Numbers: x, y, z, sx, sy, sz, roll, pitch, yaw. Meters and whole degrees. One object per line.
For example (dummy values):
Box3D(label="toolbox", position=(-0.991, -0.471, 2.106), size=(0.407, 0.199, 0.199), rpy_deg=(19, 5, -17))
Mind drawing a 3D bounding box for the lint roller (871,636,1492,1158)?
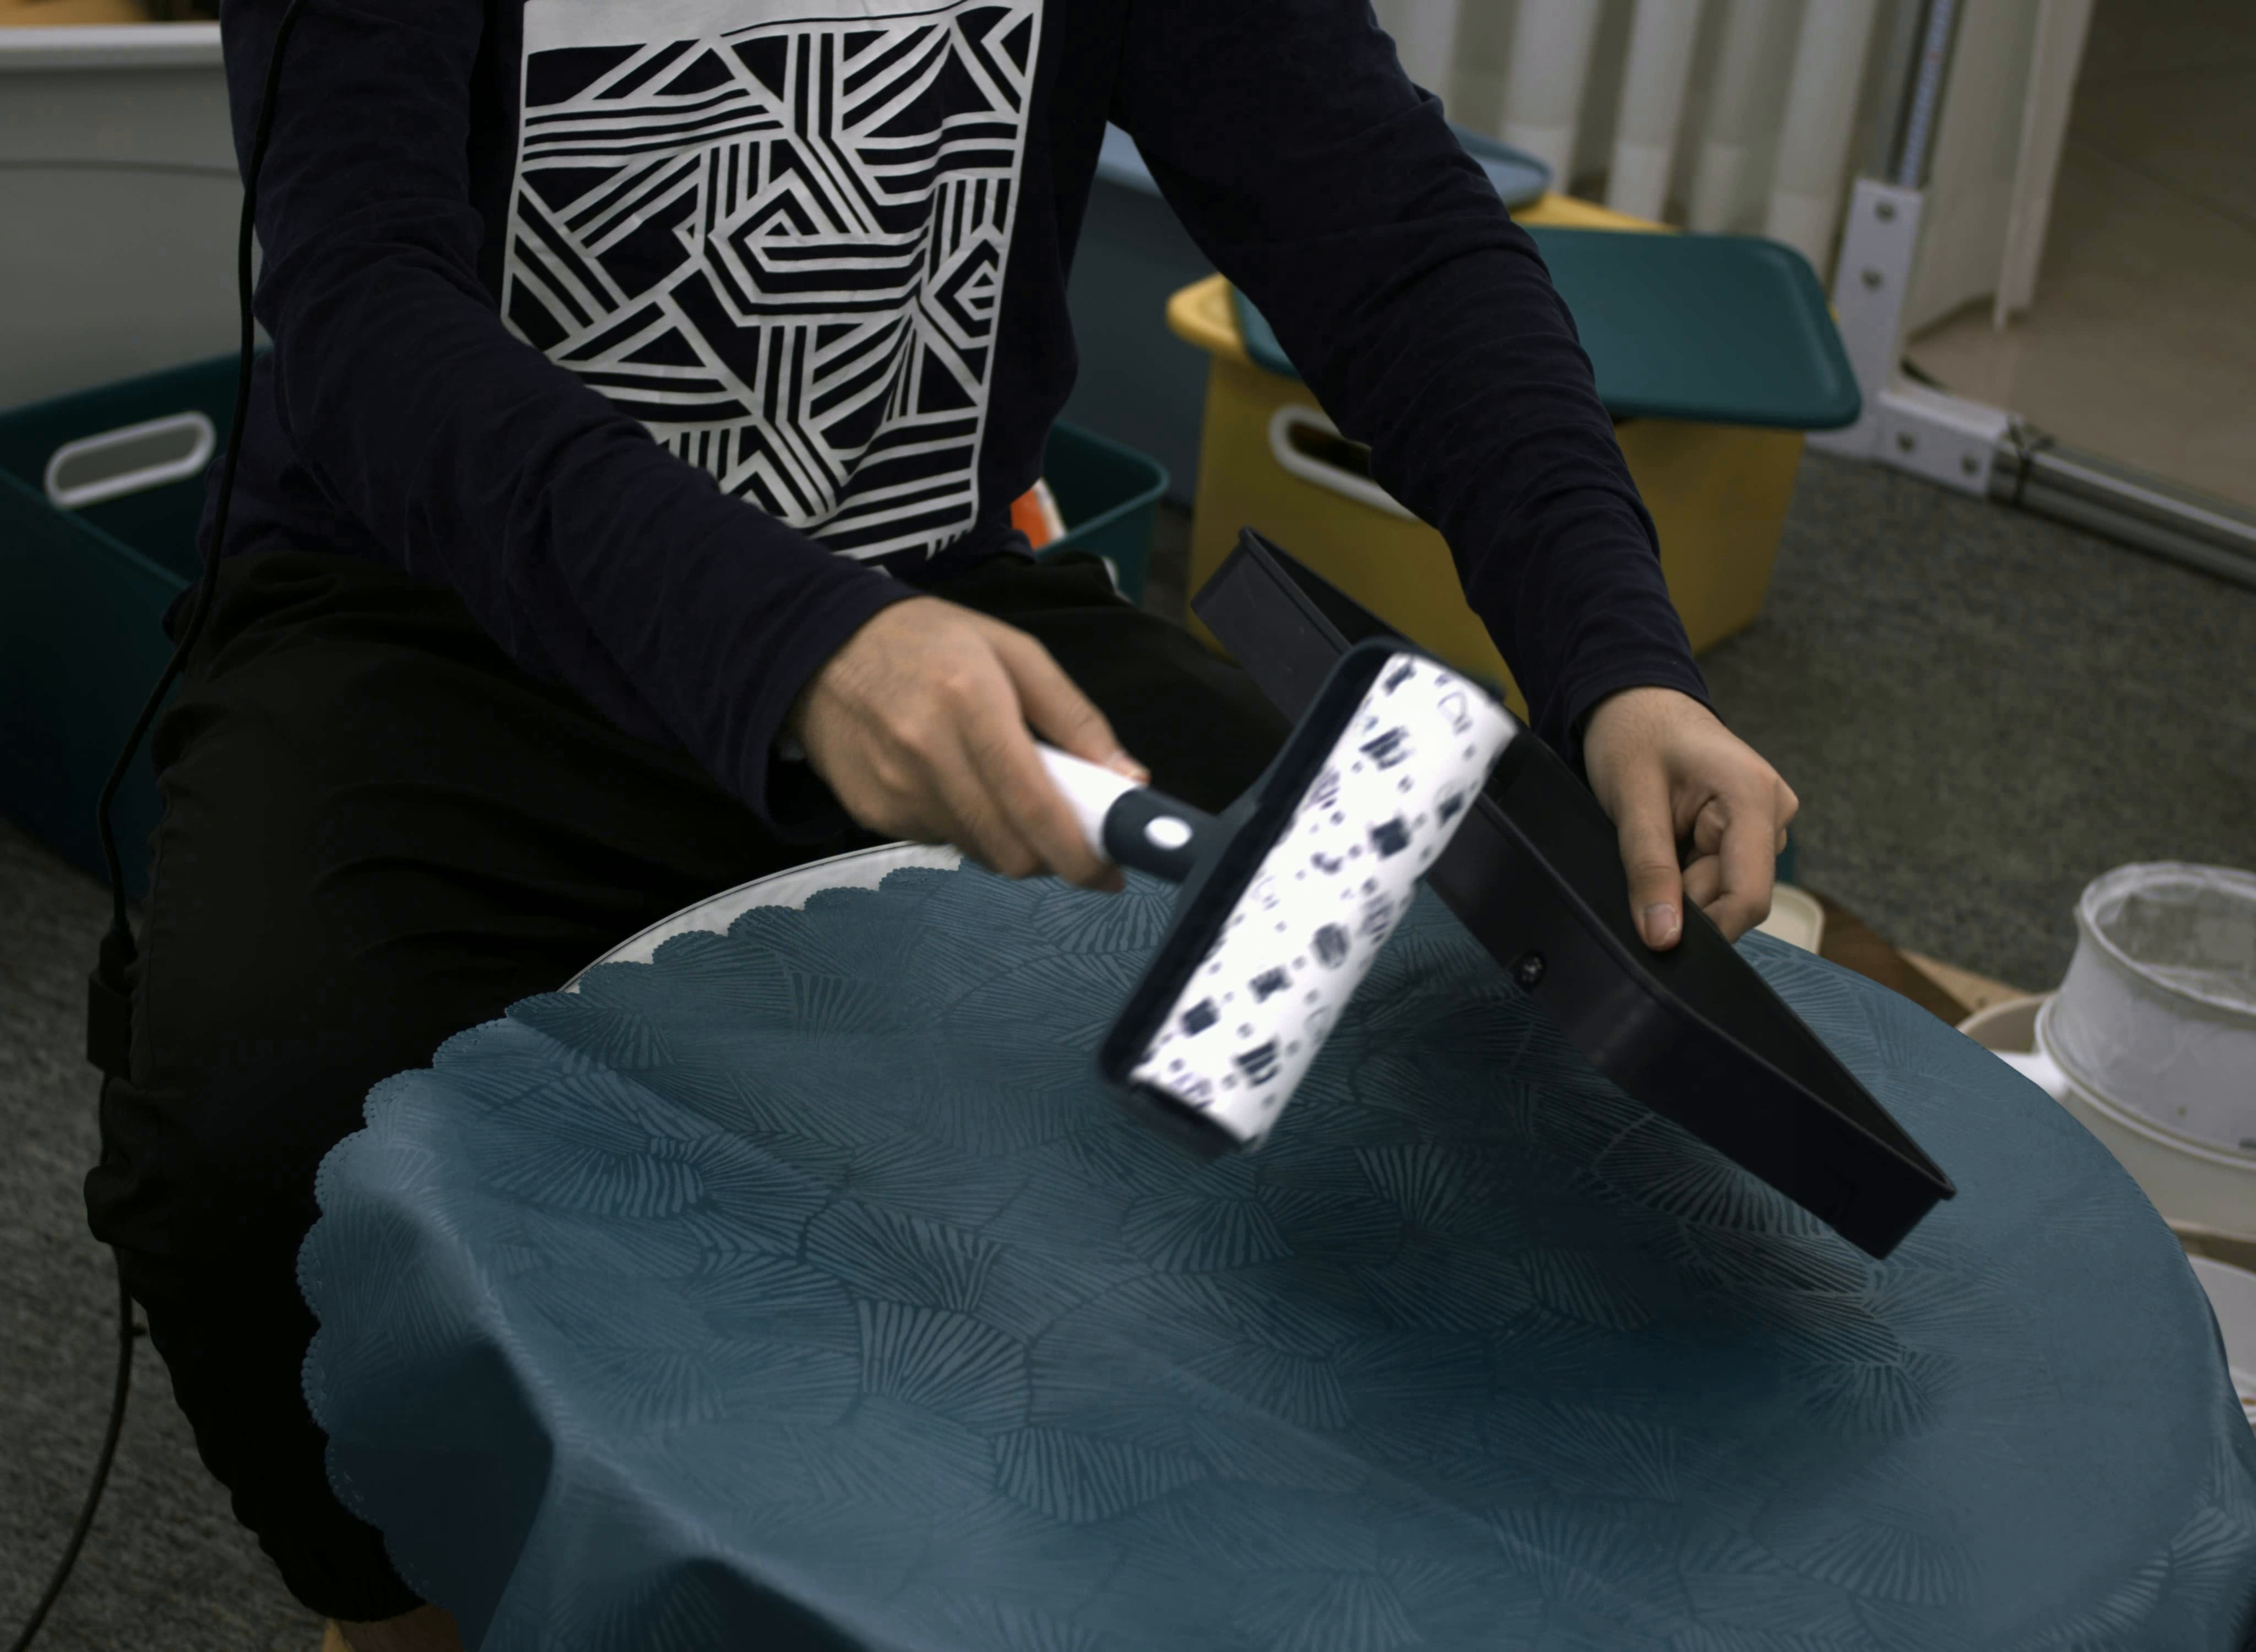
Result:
Box3D(label="lint roller", position=(-0.010, -0.001, 1.747), size=(0.249, 0.176, 0.050), rpy_deg=(21, -15, 46))

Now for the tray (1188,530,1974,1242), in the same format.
Box3D(label="tray", position=(0.149, 0.017, 1.820), size=(0.182, 0.037, 0.321), rpy_deg=(33, 10, -39))
